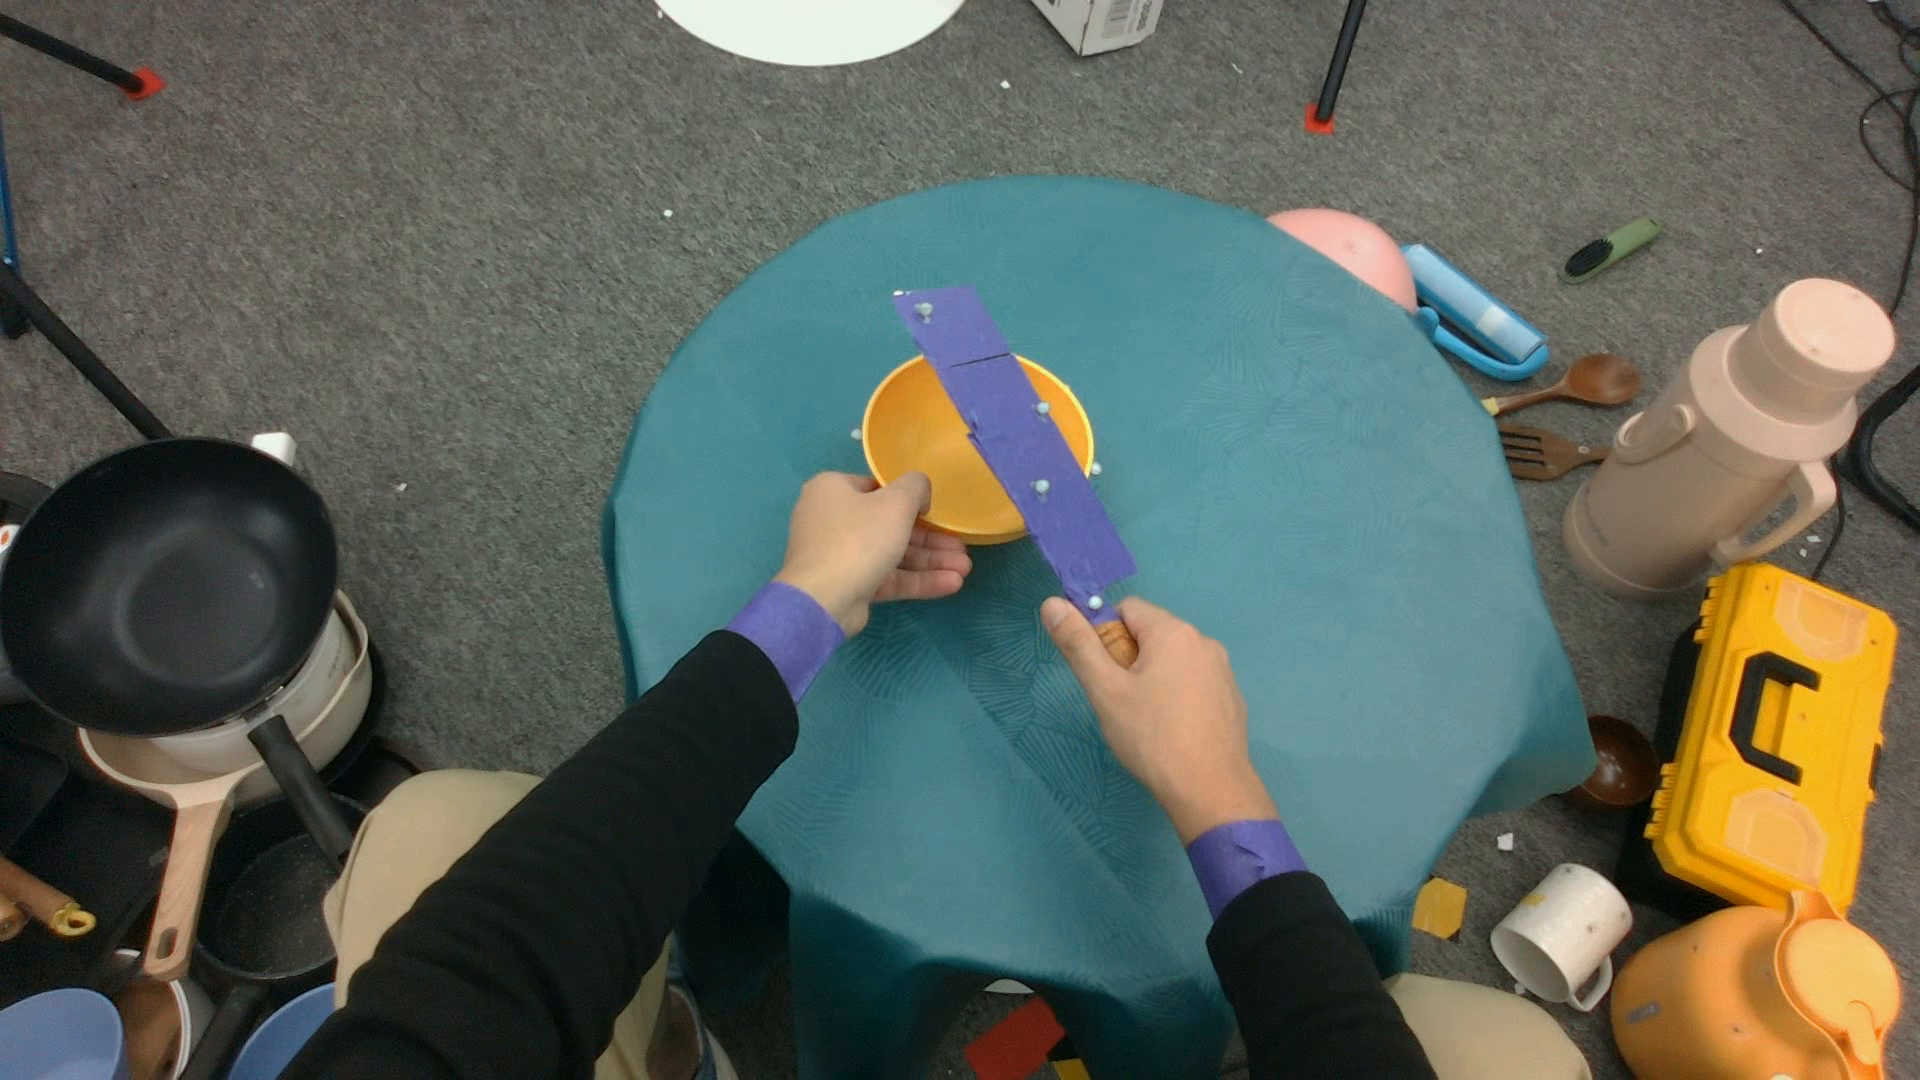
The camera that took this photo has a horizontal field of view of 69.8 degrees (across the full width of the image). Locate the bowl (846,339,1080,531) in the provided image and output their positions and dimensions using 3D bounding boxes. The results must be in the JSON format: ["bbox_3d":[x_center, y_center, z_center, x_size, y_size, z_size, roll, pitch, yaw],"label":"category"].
[{"bbox_3d":[0.001,-0.057,0.873,0.145,0.060,0.146,2,57,-4],"label":"bowl"}]

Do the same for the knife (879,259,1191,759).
[{"bbox_3d":[0.057,-0.029,0.796,0.104,0.032,0.315,-21,82,-56],"label":"knife"}]
